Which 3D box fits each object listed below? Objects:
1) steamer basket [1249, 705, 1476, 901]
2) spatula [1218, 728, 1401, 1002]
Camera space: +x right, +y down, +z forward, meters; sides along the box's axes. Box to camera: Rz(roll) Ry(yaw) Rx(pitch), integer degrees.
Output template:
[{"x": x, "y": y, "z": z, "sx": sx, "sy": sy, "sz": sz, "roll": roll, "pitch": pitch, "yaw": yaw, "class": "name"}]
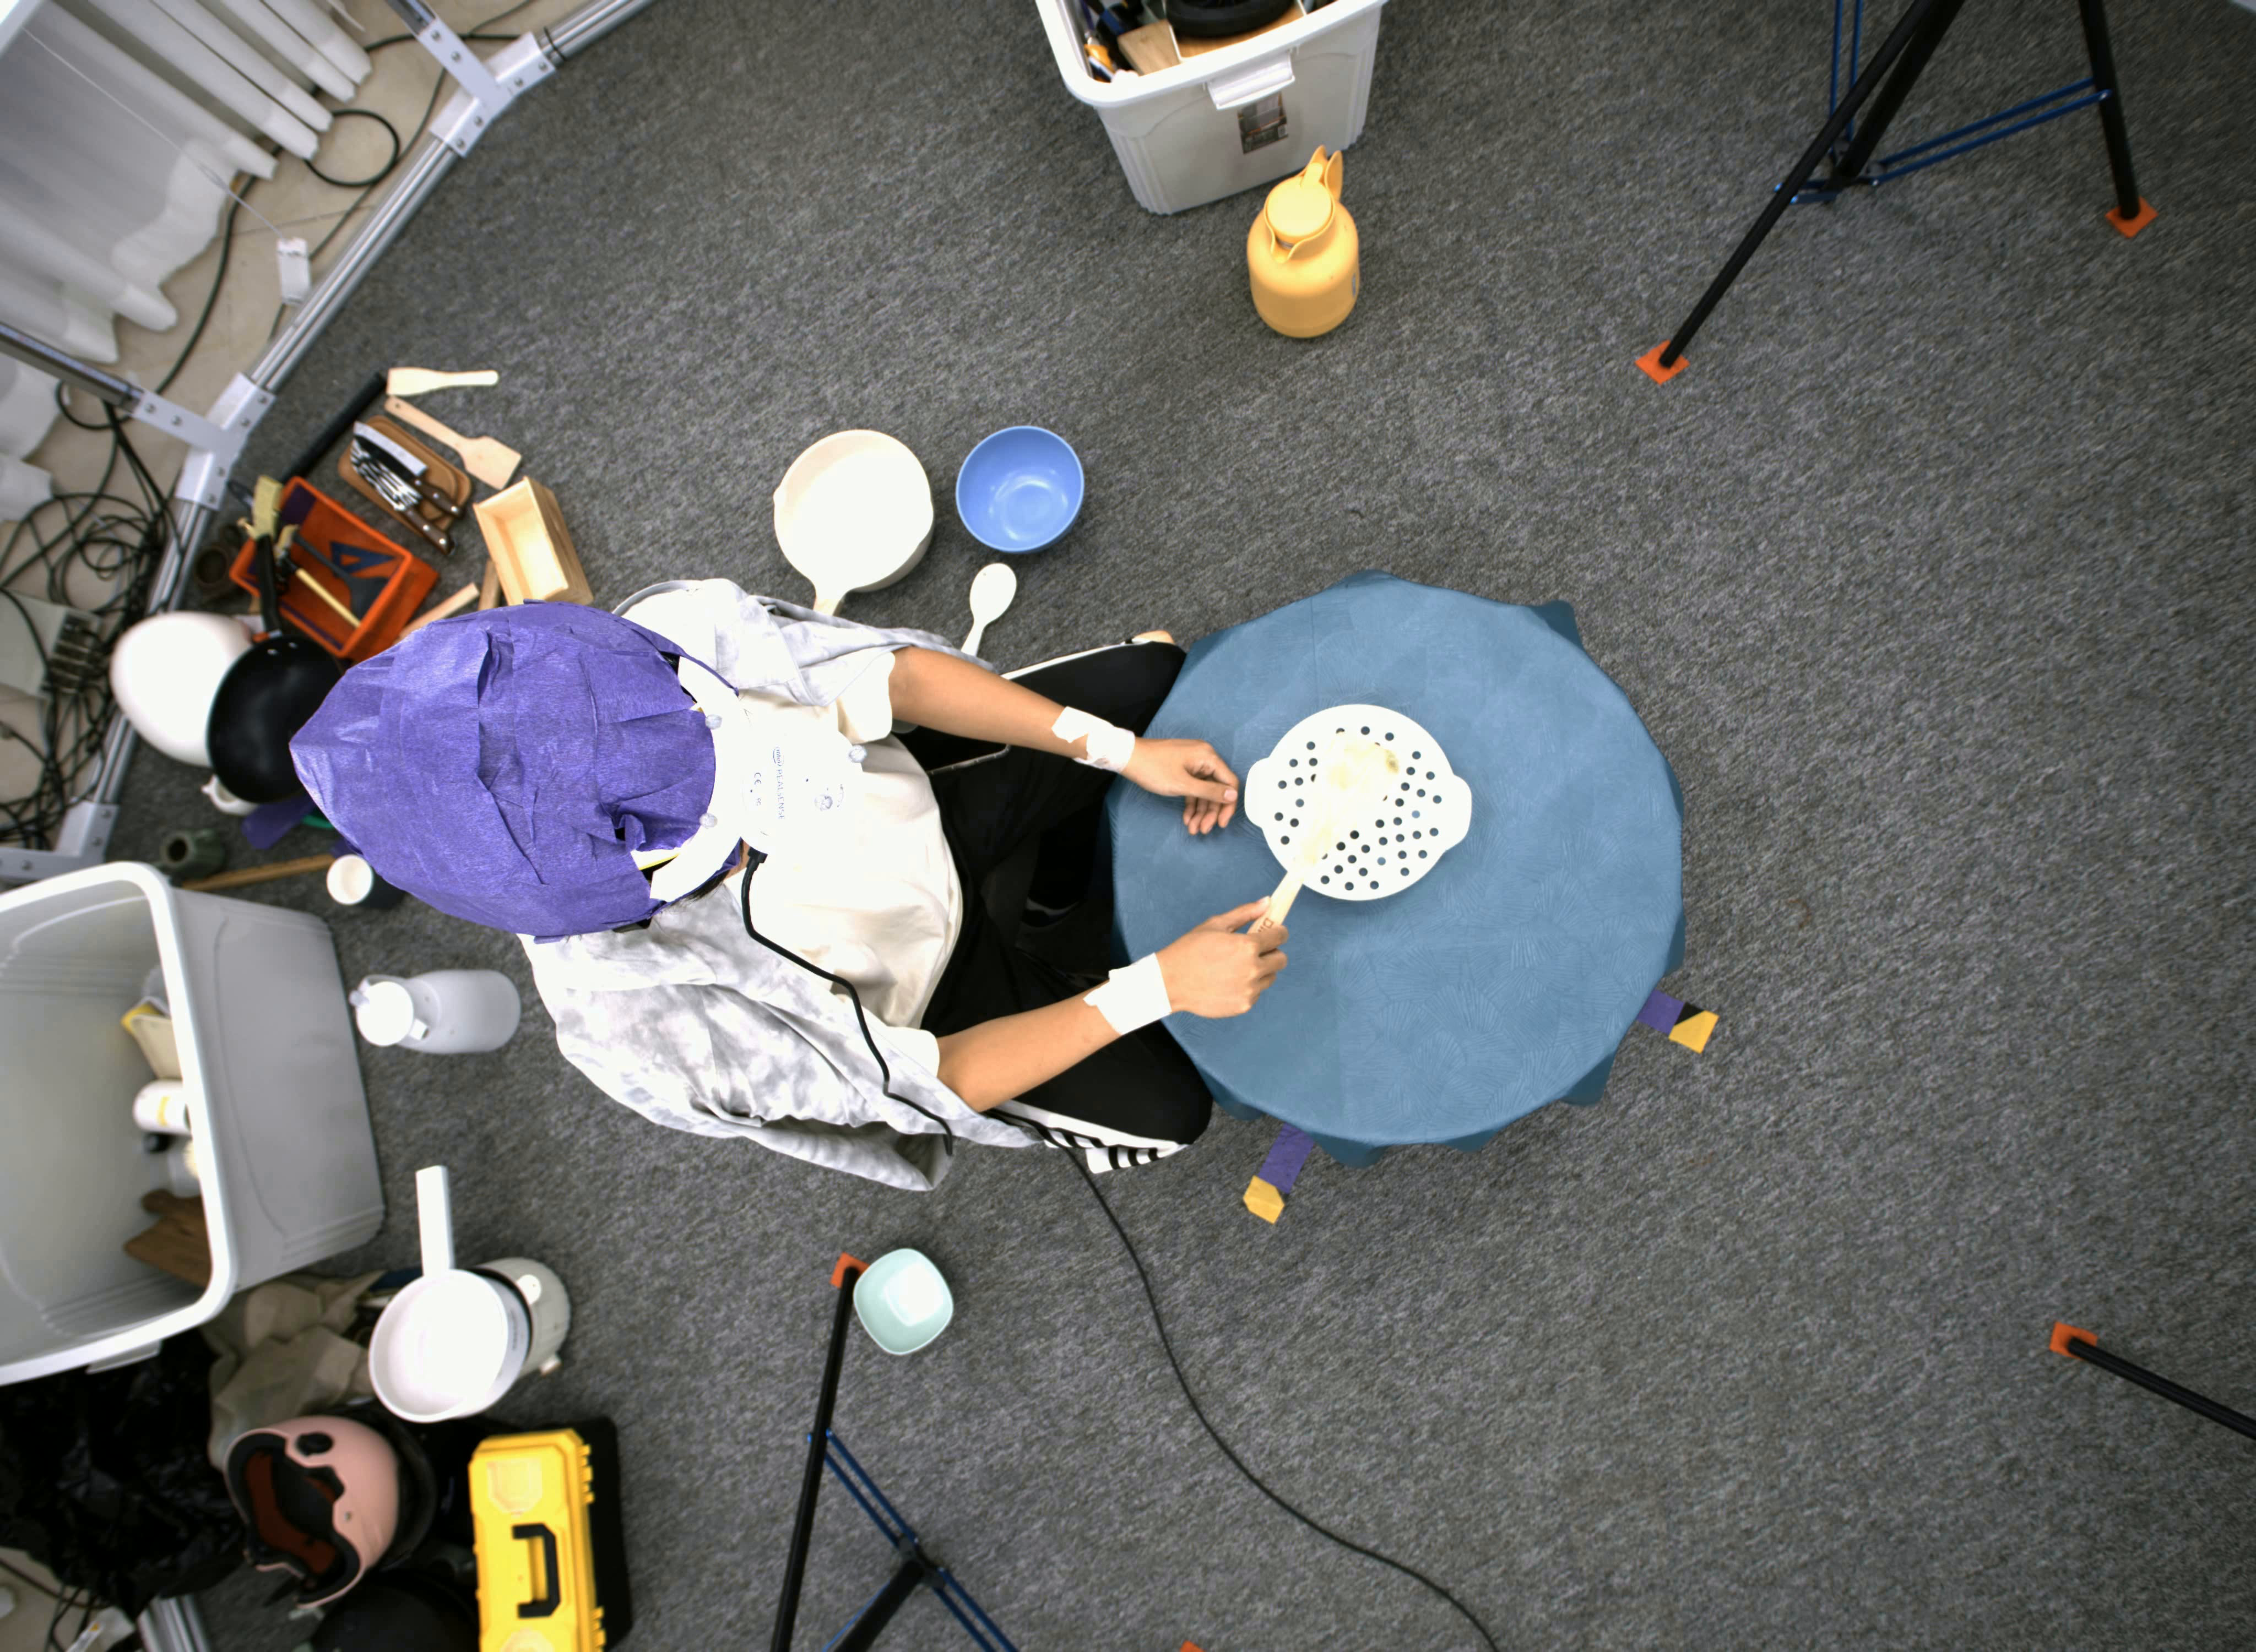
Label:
[{"x": 0.243, "y": -0.023, "z": 1.435, "sx": 0.231, "sy": 0.069, "sz": 0.201, "roll": 6, "pitch": 86, "yaw": 12, "class": "steamer basket"}, {"x": 0.173, "y": 0.035, "z": 1.380, "sx": 0.080, "sy": 0.017, "sz": 0.322, "roll": 32, "pitch": 70, "yaw": -1, "class": "spatula"}]
